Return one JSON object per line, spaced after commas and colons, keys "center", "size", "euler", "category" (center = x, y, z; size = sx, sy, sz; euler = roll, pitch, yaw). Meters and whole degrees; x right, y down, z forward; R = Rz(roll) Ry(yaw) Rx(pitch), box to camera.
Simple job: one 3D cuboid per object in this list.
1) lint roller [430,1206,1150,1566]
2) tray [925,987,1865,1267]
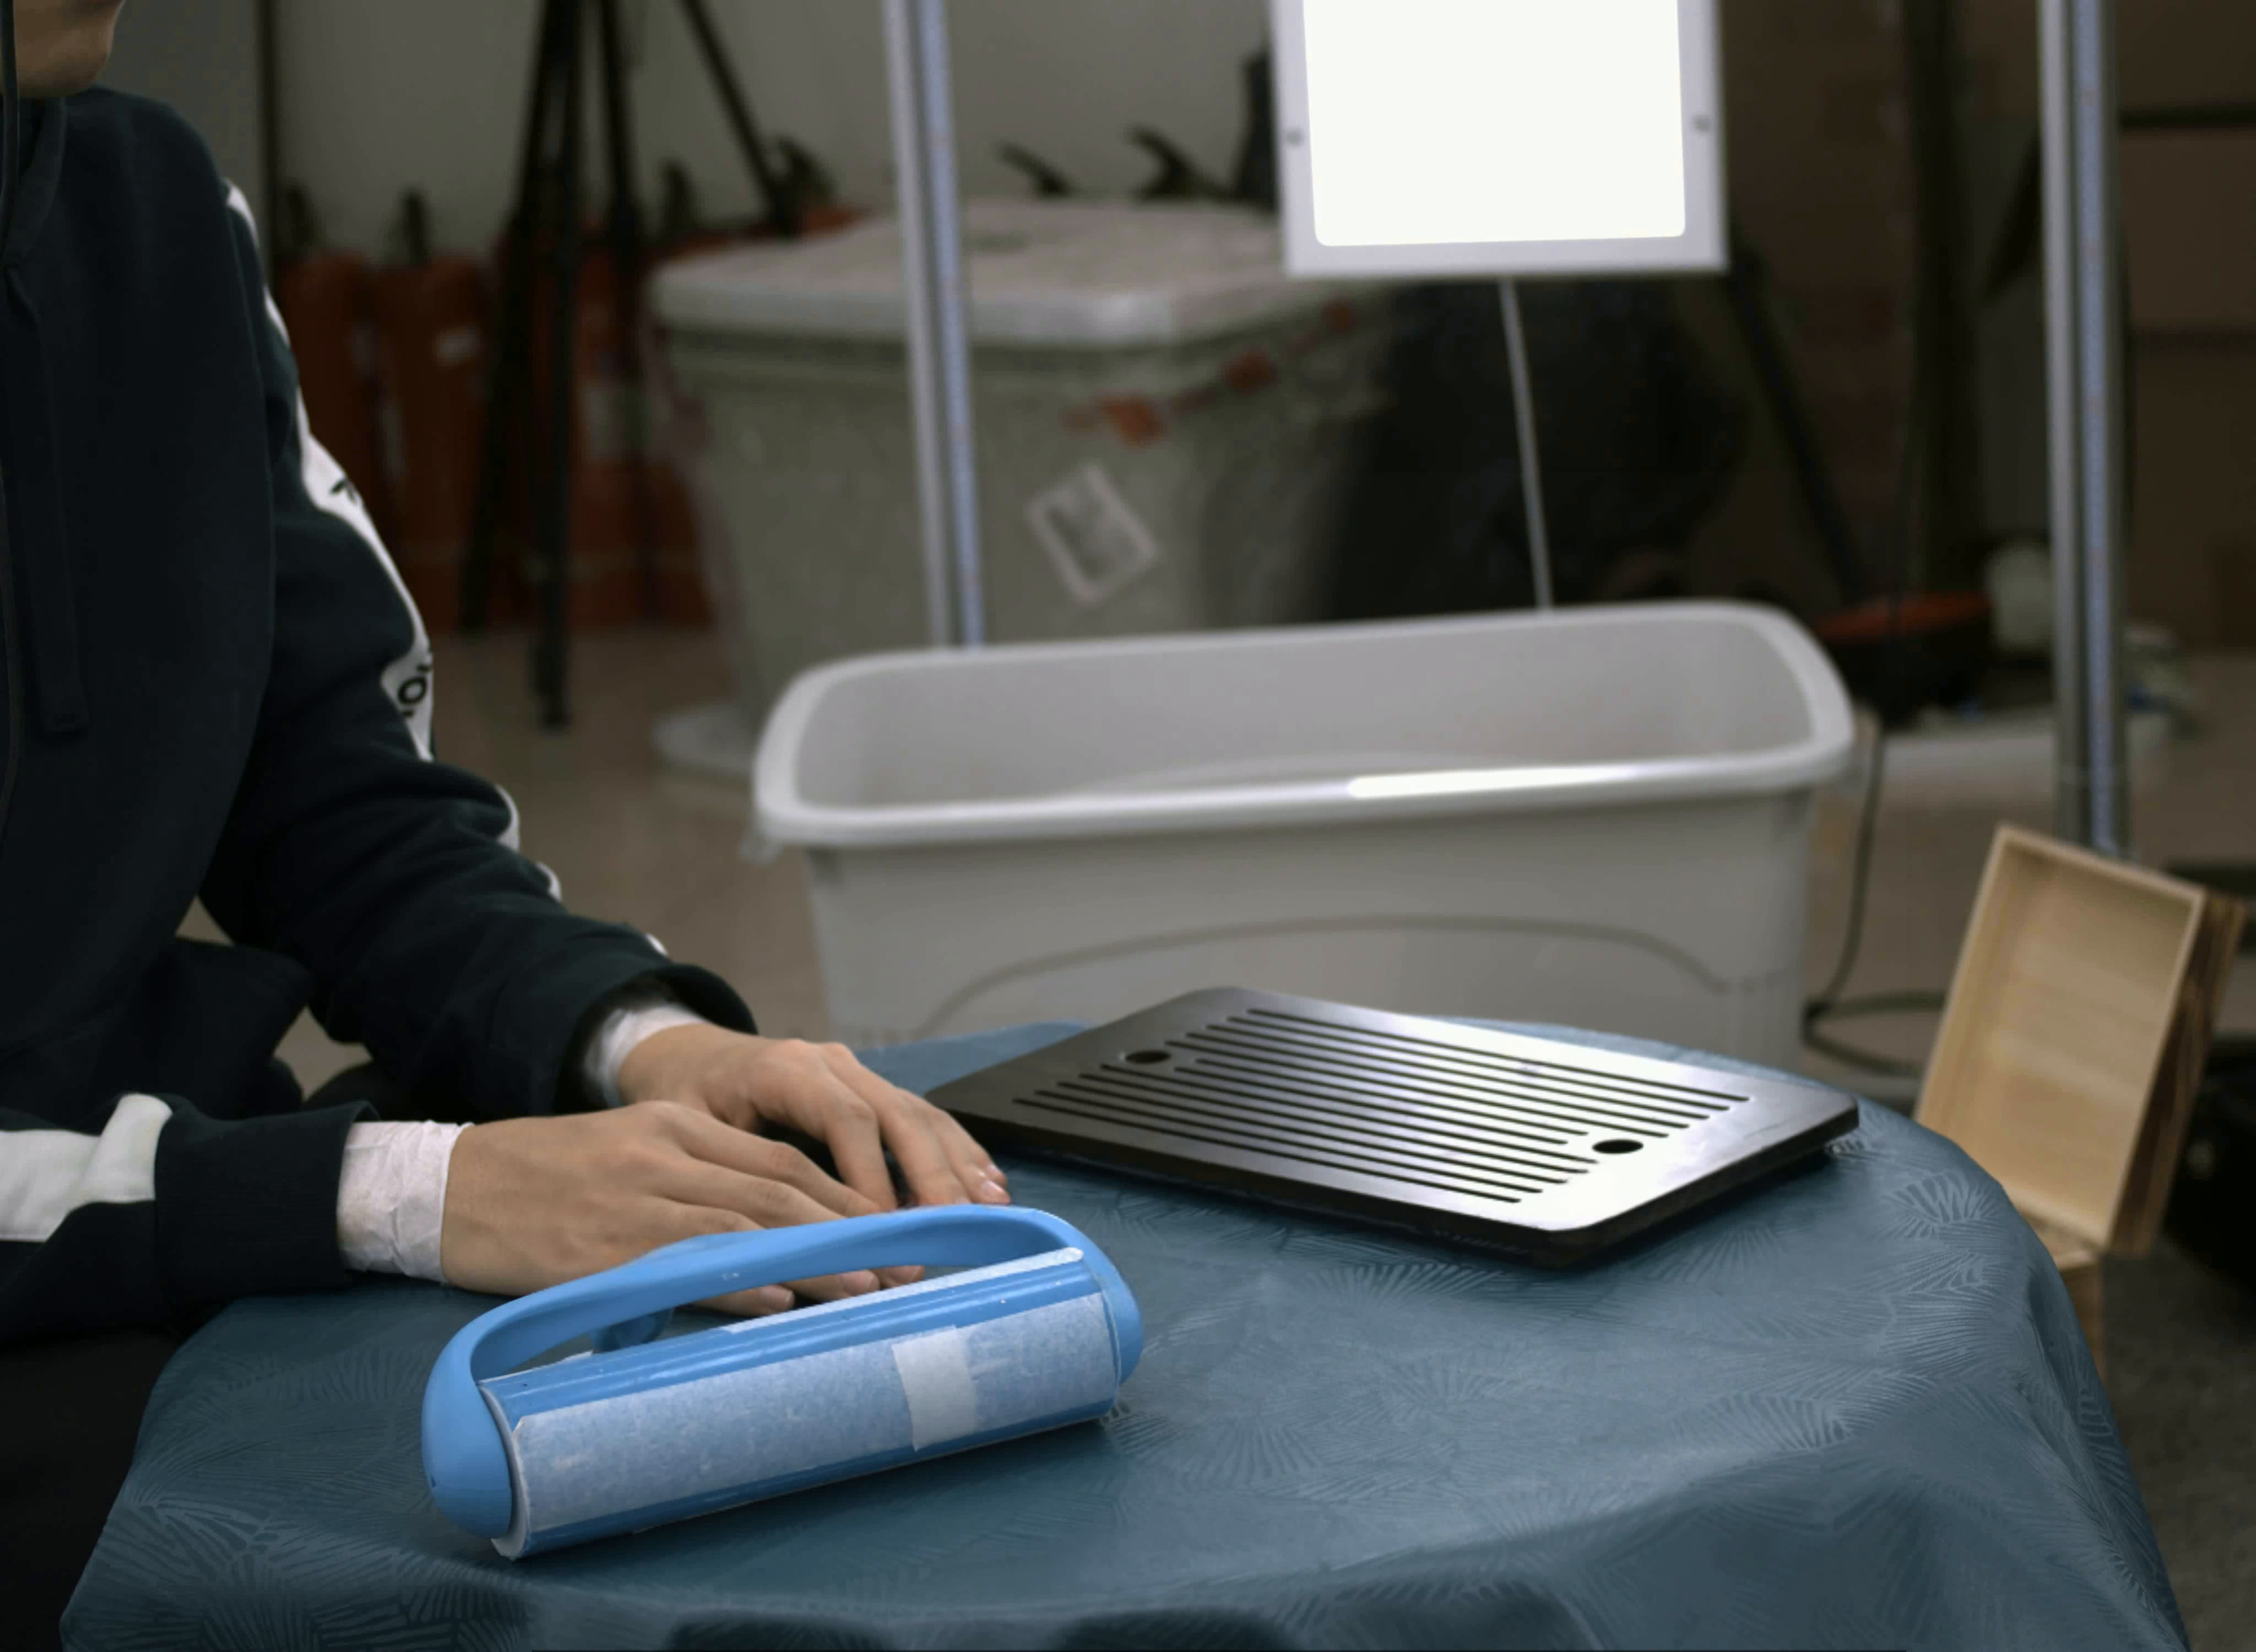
{"center": [-0.126, 0.158, 1.690], "size": [0.224, 0.068, 0.183], "euler": [-14, 18, -25], "category": "lint roller"}
{"center": [0.090, 0.102, 1.921], "size": [0.312, 0.019, 0.166], "euler": [8, 19, 43], "category": "tray"}
